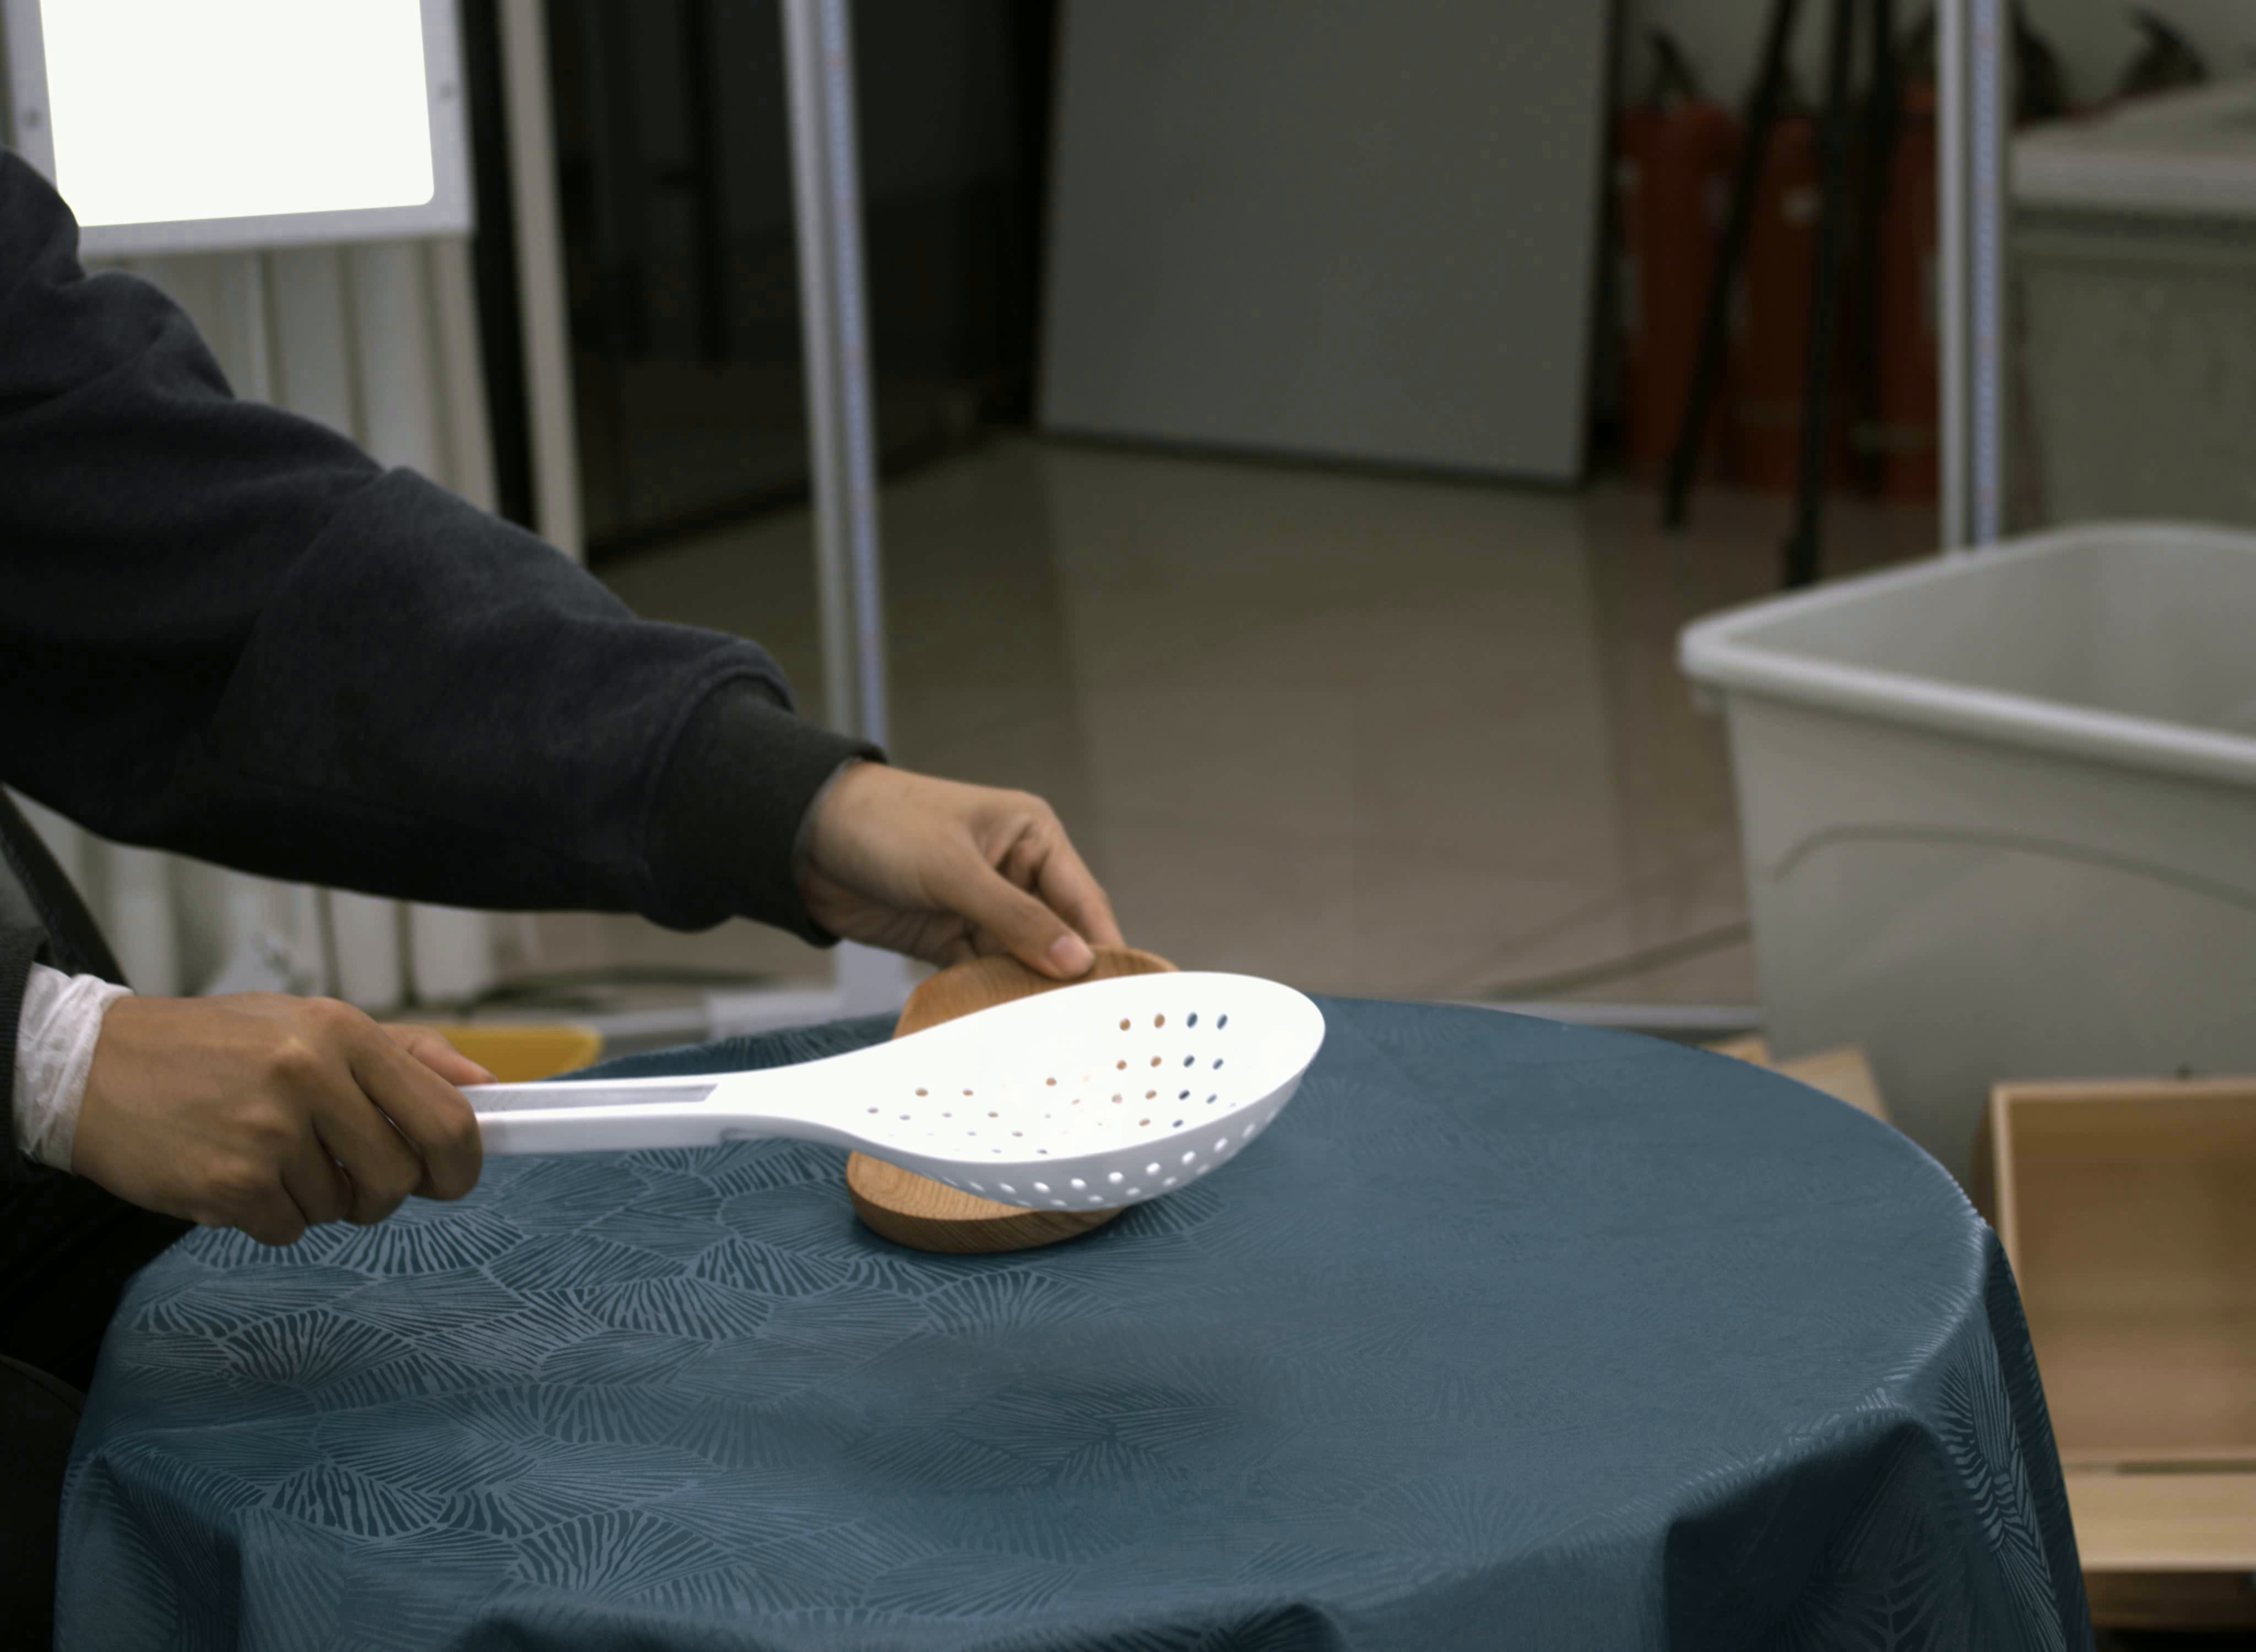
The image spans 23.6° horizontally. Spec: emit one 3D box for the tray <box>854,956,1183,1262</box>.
[{"bbox_3d":[-0.033,0.093,1.813,0.101,0.020,0.231,-5,21,7],"label":"tray"}]

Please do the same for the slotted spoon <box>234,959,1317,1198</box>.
[{"bbox_3d":[-0.110,0.080,1.609,0.349,0.046,0.135,0,21,20],"label":"slotted spoon"}]
